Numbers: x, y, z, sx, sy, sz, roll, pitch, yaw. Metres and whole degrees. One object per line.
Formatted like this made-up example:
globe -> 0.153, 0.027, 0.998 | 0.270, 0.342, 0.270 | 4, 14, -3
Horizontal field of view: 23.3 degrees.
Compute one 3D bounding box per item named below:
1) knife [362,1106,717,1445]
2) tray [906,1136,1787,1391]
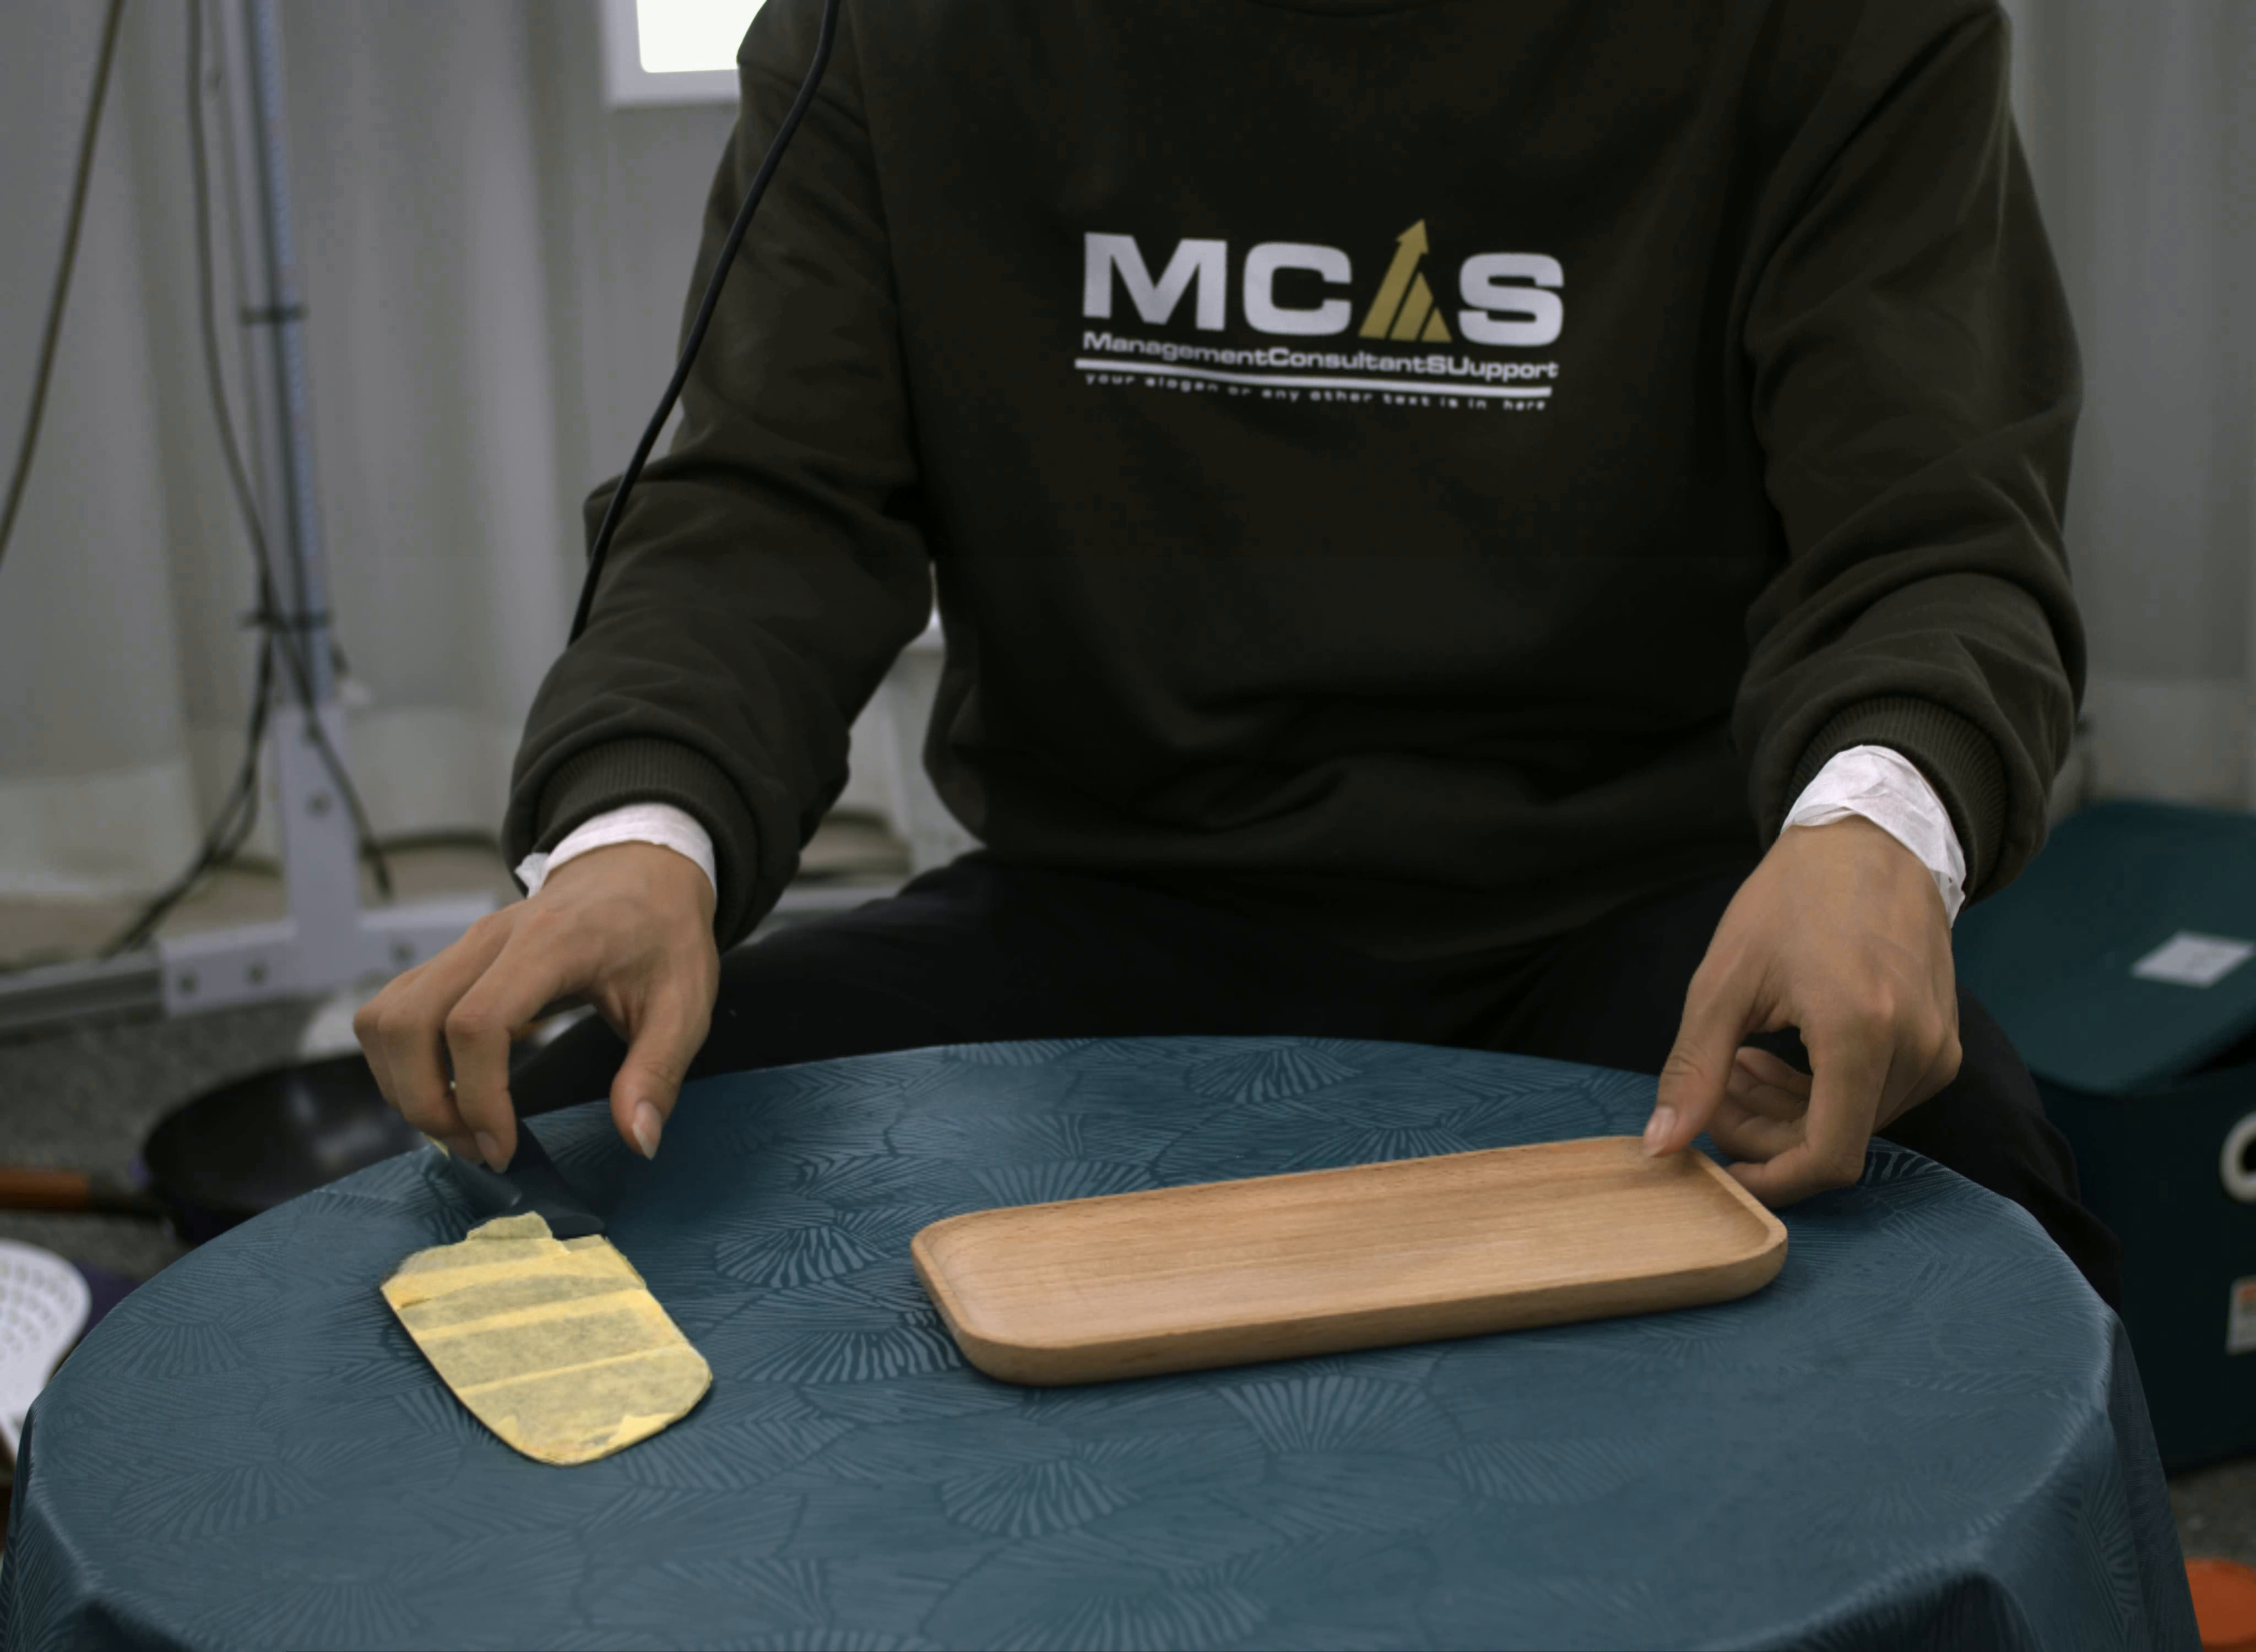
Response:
knife -> -0.188, 0.136, 1.646 | 0.080, 0.027, 0.292 | -6, 16, -17
tray -> 0.064, 0.129, 1.621 | 0.249, 0.023, 0.131 | -7, 13, -12
